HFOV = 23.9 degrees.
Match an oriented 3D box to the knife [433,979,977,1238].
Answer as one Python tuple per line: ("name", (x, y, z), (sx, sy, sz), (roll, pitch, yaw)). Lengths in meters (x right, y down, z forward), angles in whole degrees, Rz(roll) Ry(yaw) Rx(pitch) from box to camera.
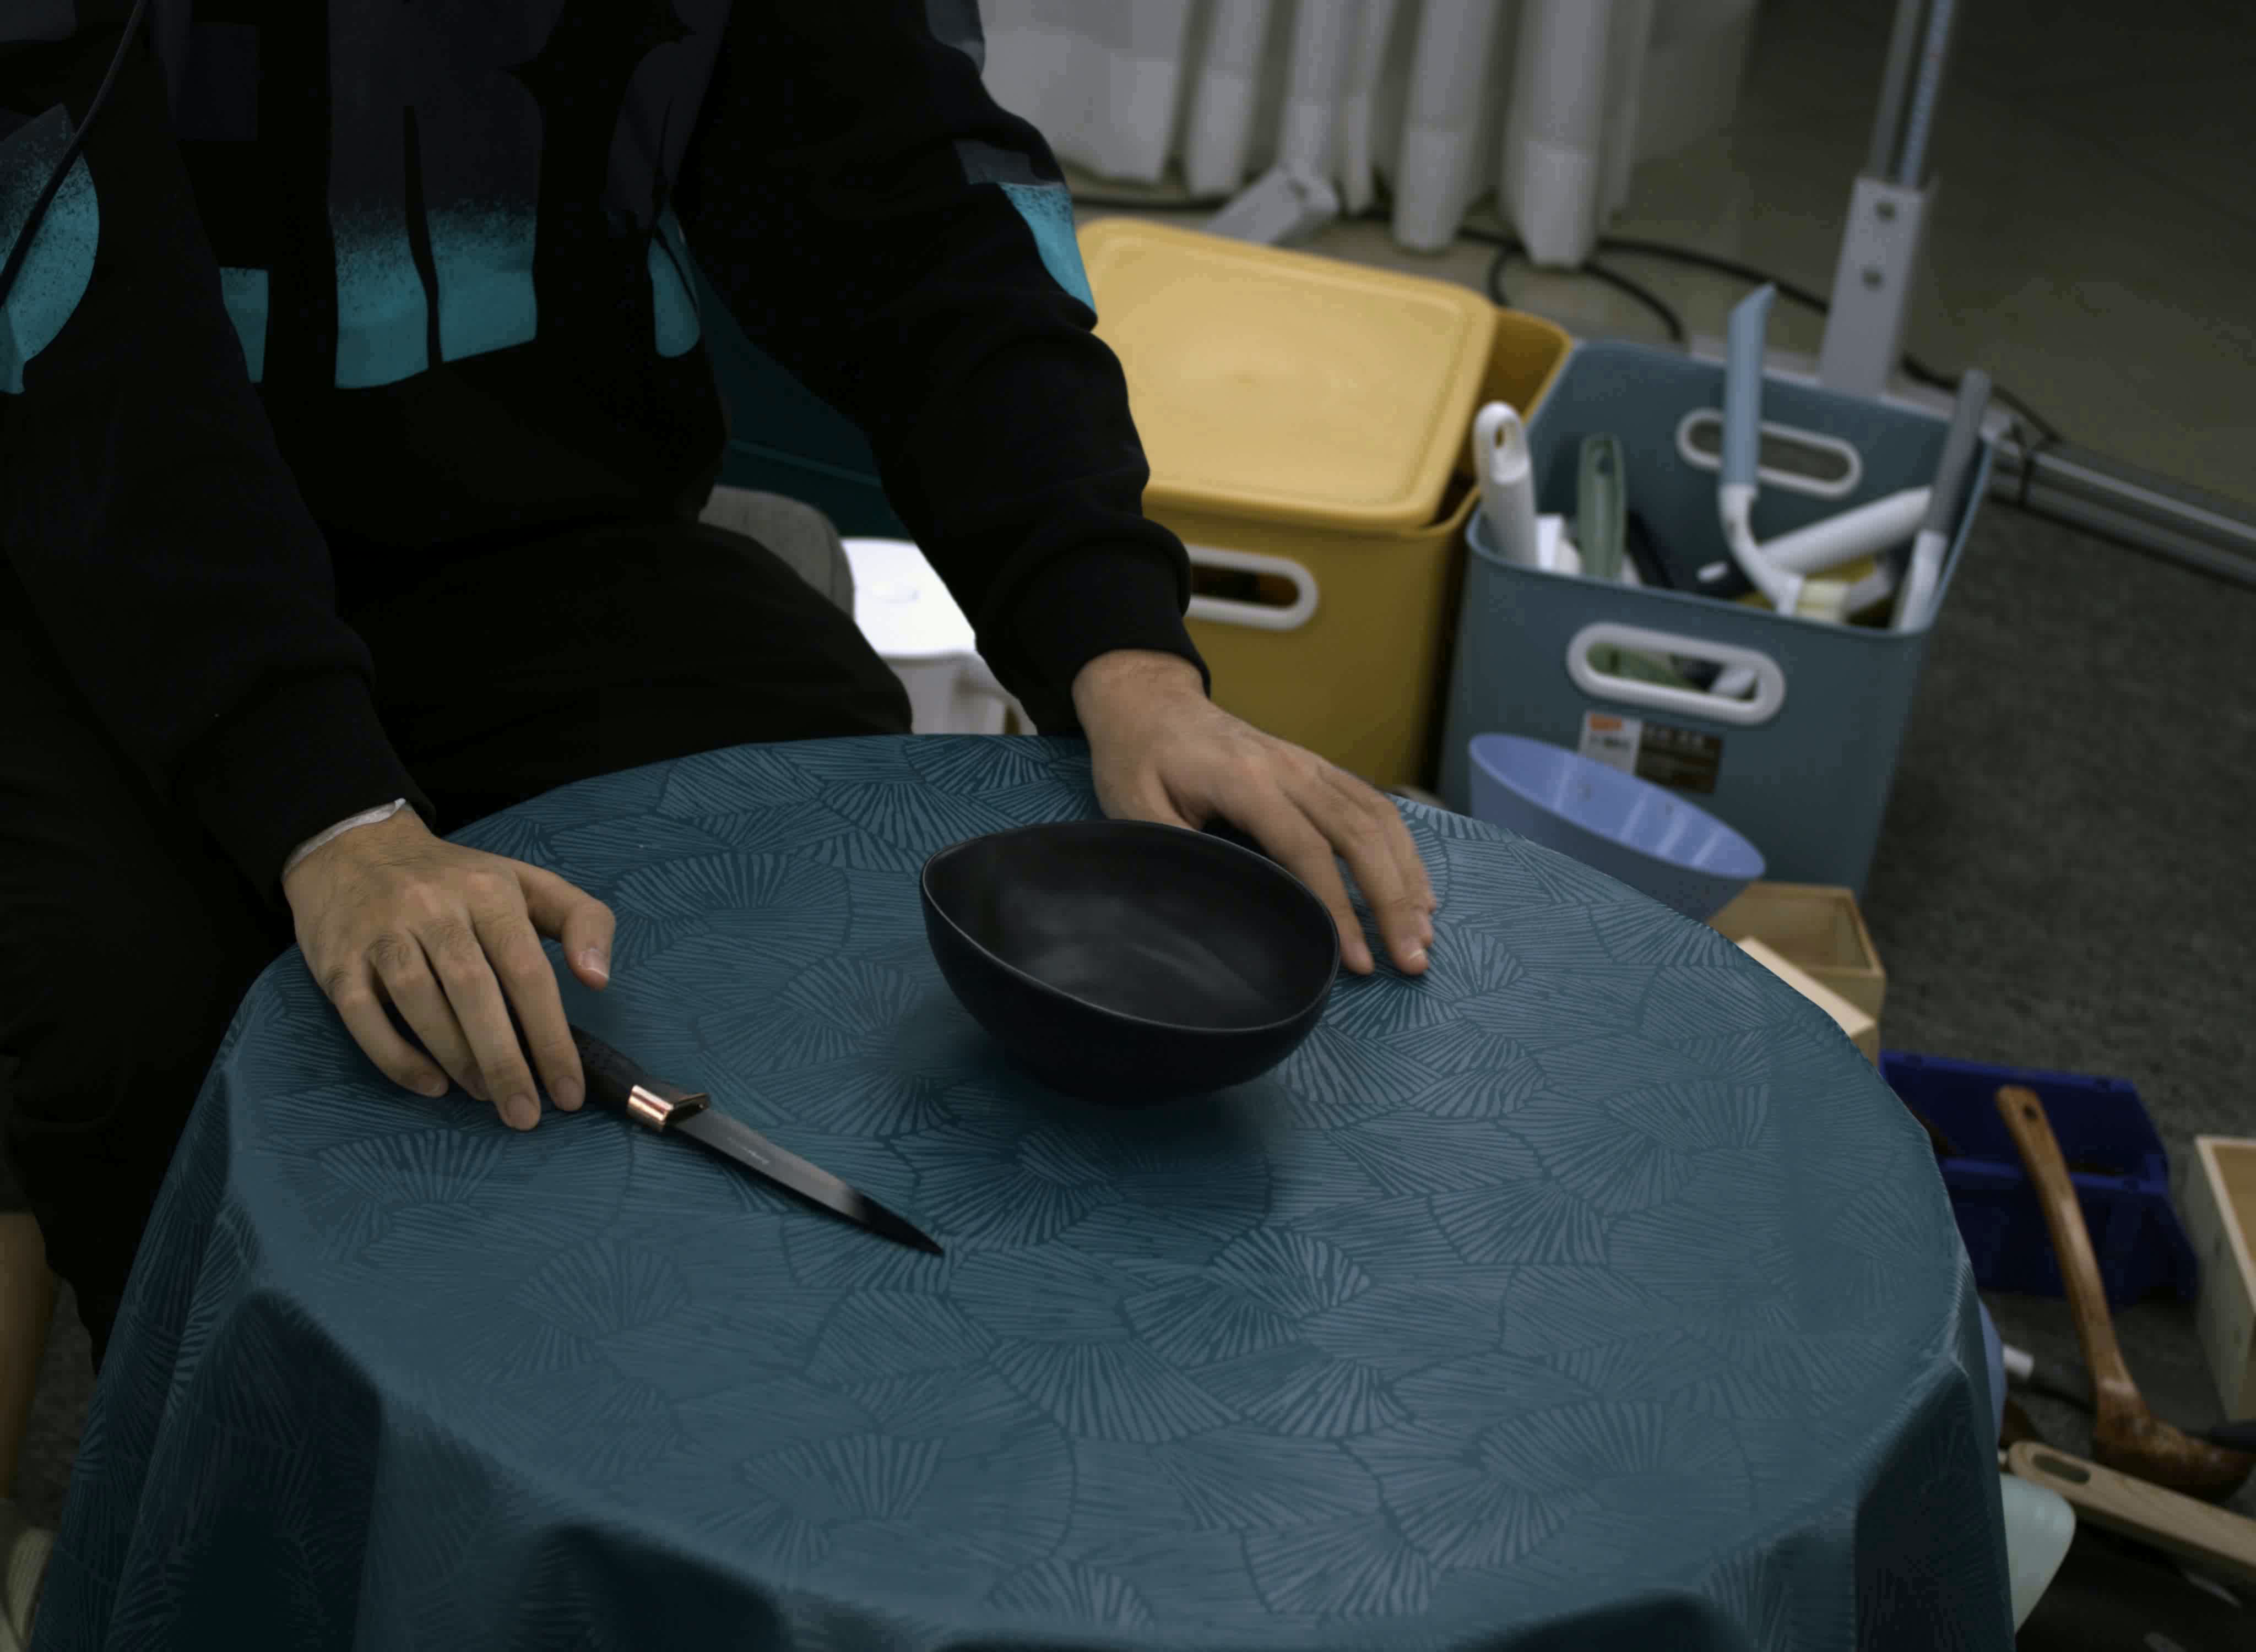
("knife", (-0.146, 0.098, 1.808), (0.227, 0.017, 0.026), (23, 34, 28))

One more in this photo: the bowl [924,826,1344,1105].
("bowl", (-0.002, 0.055, 1.866), (0.136, 0.066, 0.172), (-13, 31, -35))
